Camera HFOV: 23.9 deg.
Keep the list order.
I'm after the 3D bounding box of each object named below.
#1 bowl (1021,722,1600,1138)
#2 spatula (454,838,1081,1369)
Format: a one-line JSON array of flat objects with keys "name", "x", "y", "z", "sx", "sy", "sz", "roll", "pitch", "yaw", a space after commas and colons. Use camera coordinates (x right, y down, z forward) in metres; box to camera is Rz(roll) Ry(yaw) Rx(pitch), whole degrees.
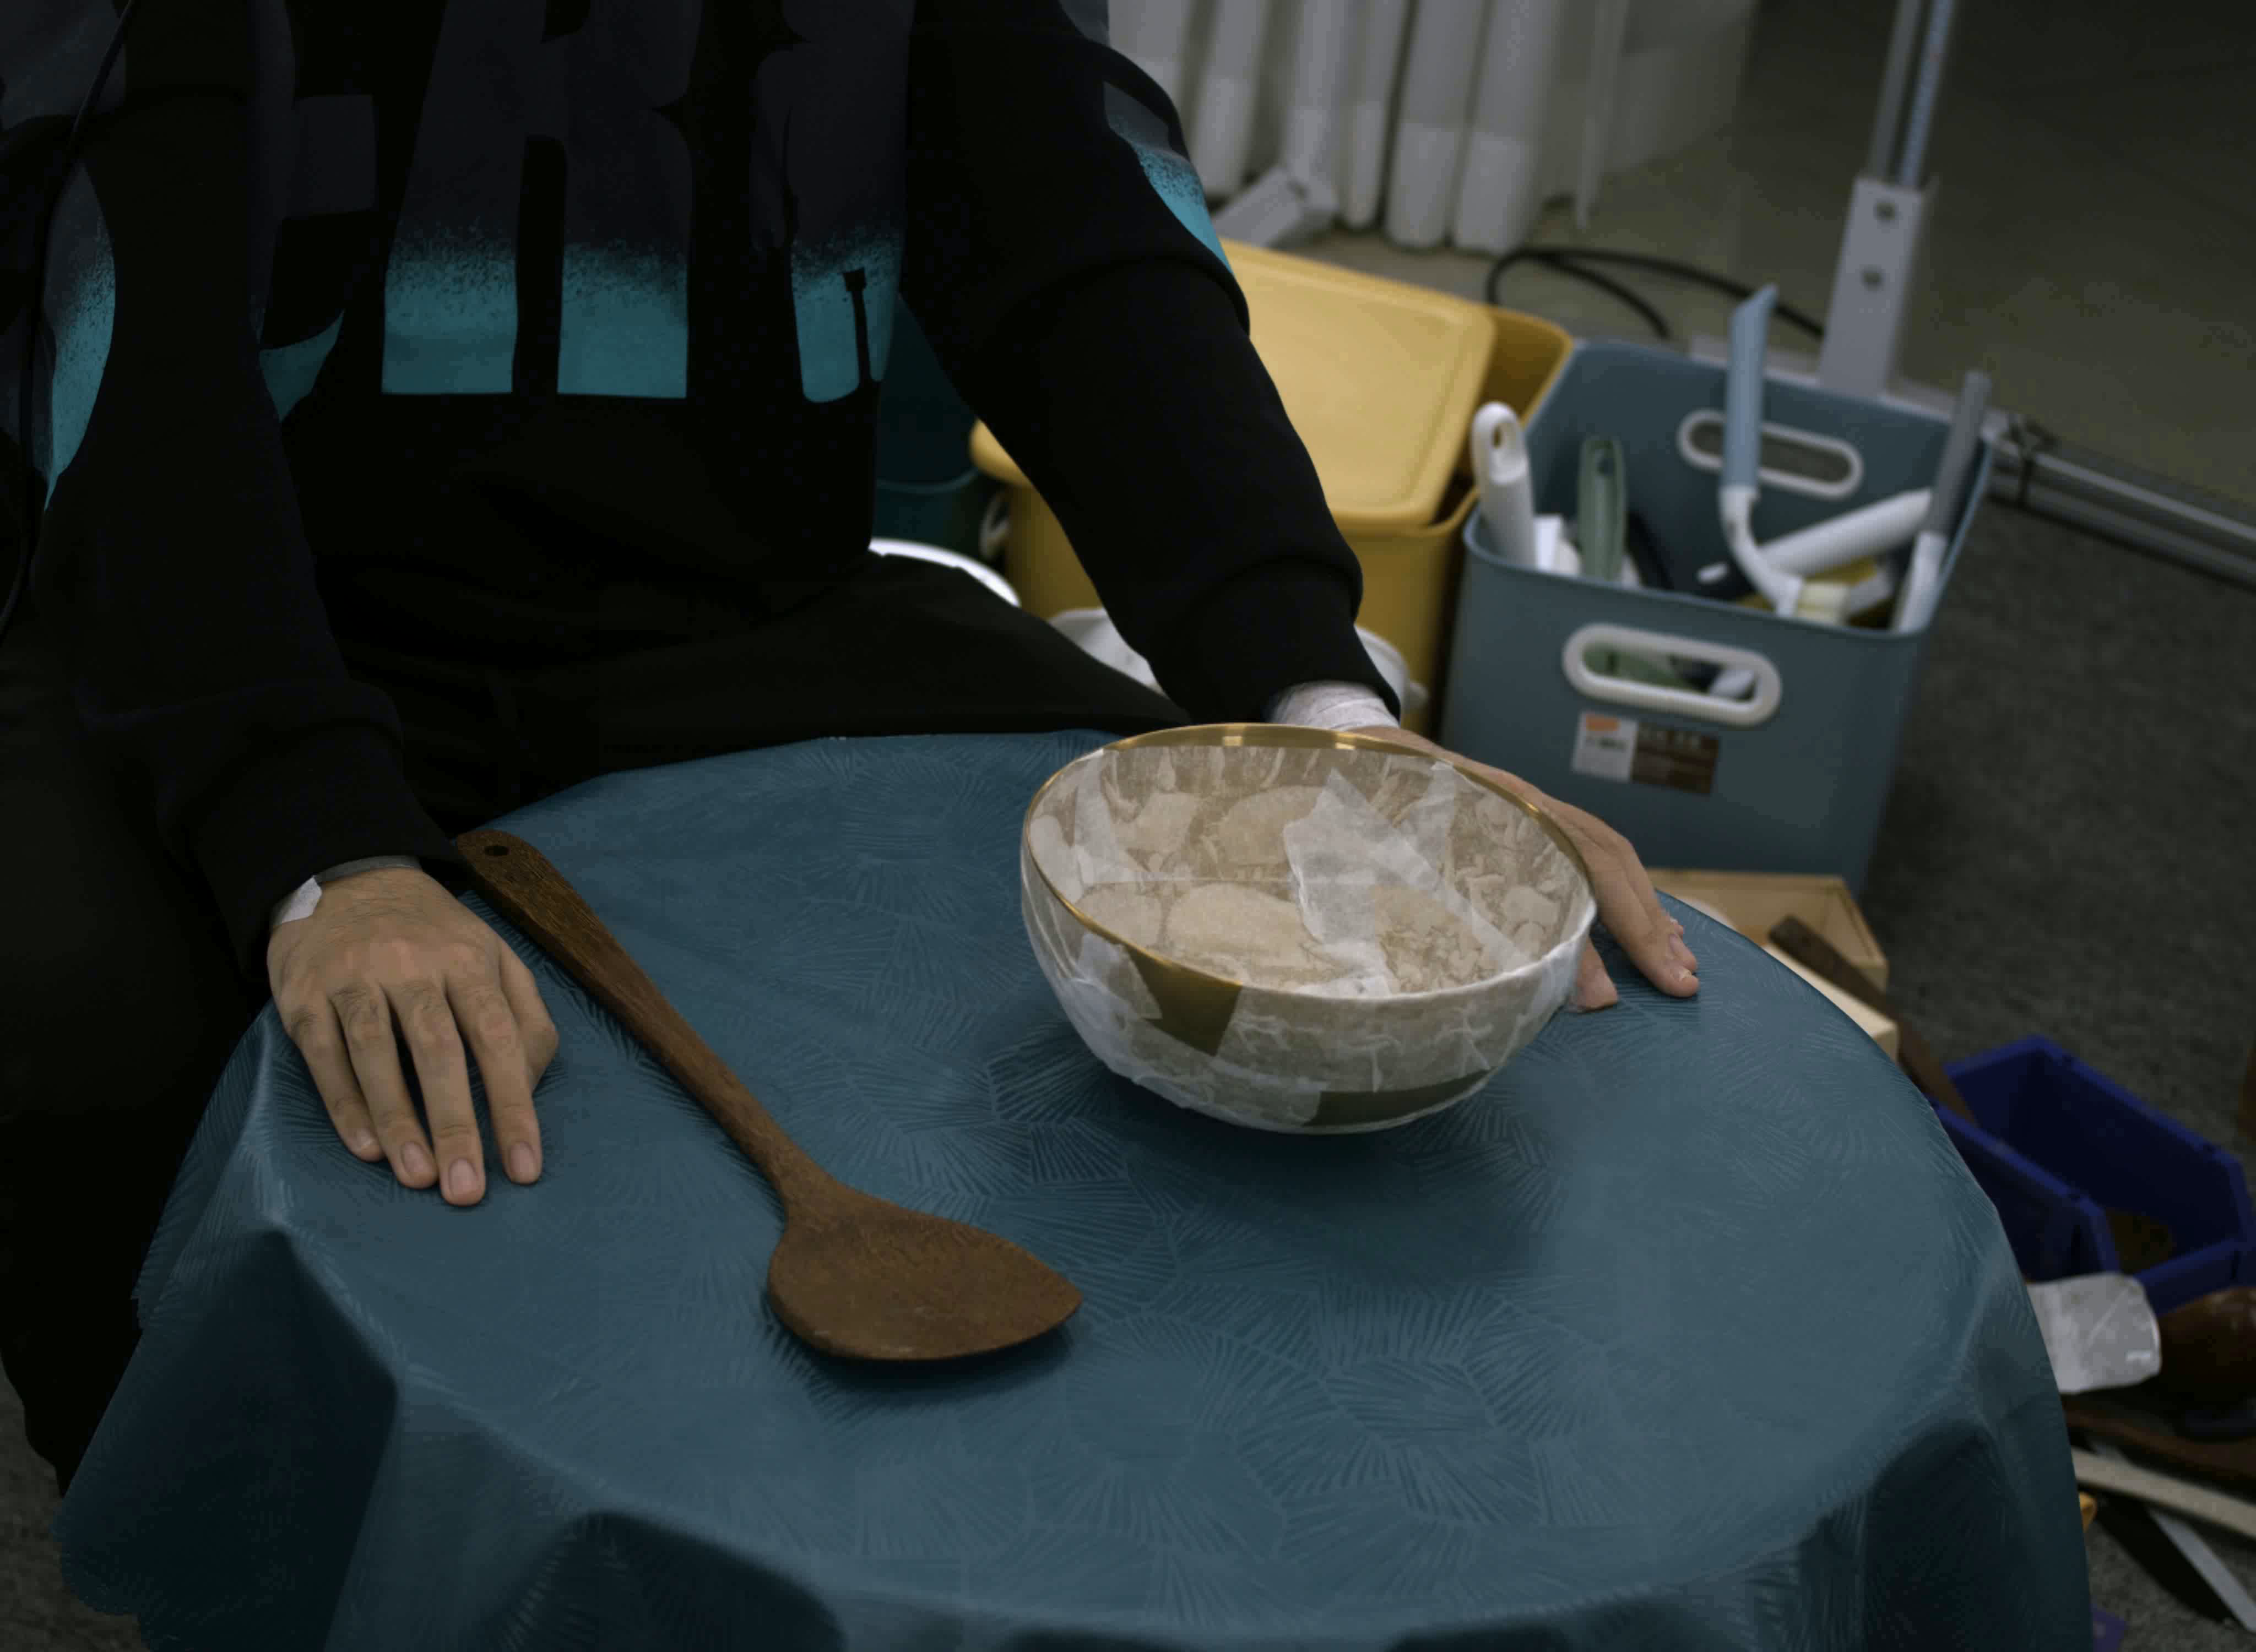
[{"name": "bowl", "x": 0.059, "y": 0.047, "z": 1.862, "sx": 0.214, "sy": 0.094, "sz": 0.216, "roll": 3, "pitch": 26, "yaw": -2}, {"name": "spatula", "x": -0.145, "y": 0.087, "z": 1.826, "sx": 0.095, "sy": 0.016, "sz": 0.389, "roll": -9, "pitch": 30, "yaw": -30}]
